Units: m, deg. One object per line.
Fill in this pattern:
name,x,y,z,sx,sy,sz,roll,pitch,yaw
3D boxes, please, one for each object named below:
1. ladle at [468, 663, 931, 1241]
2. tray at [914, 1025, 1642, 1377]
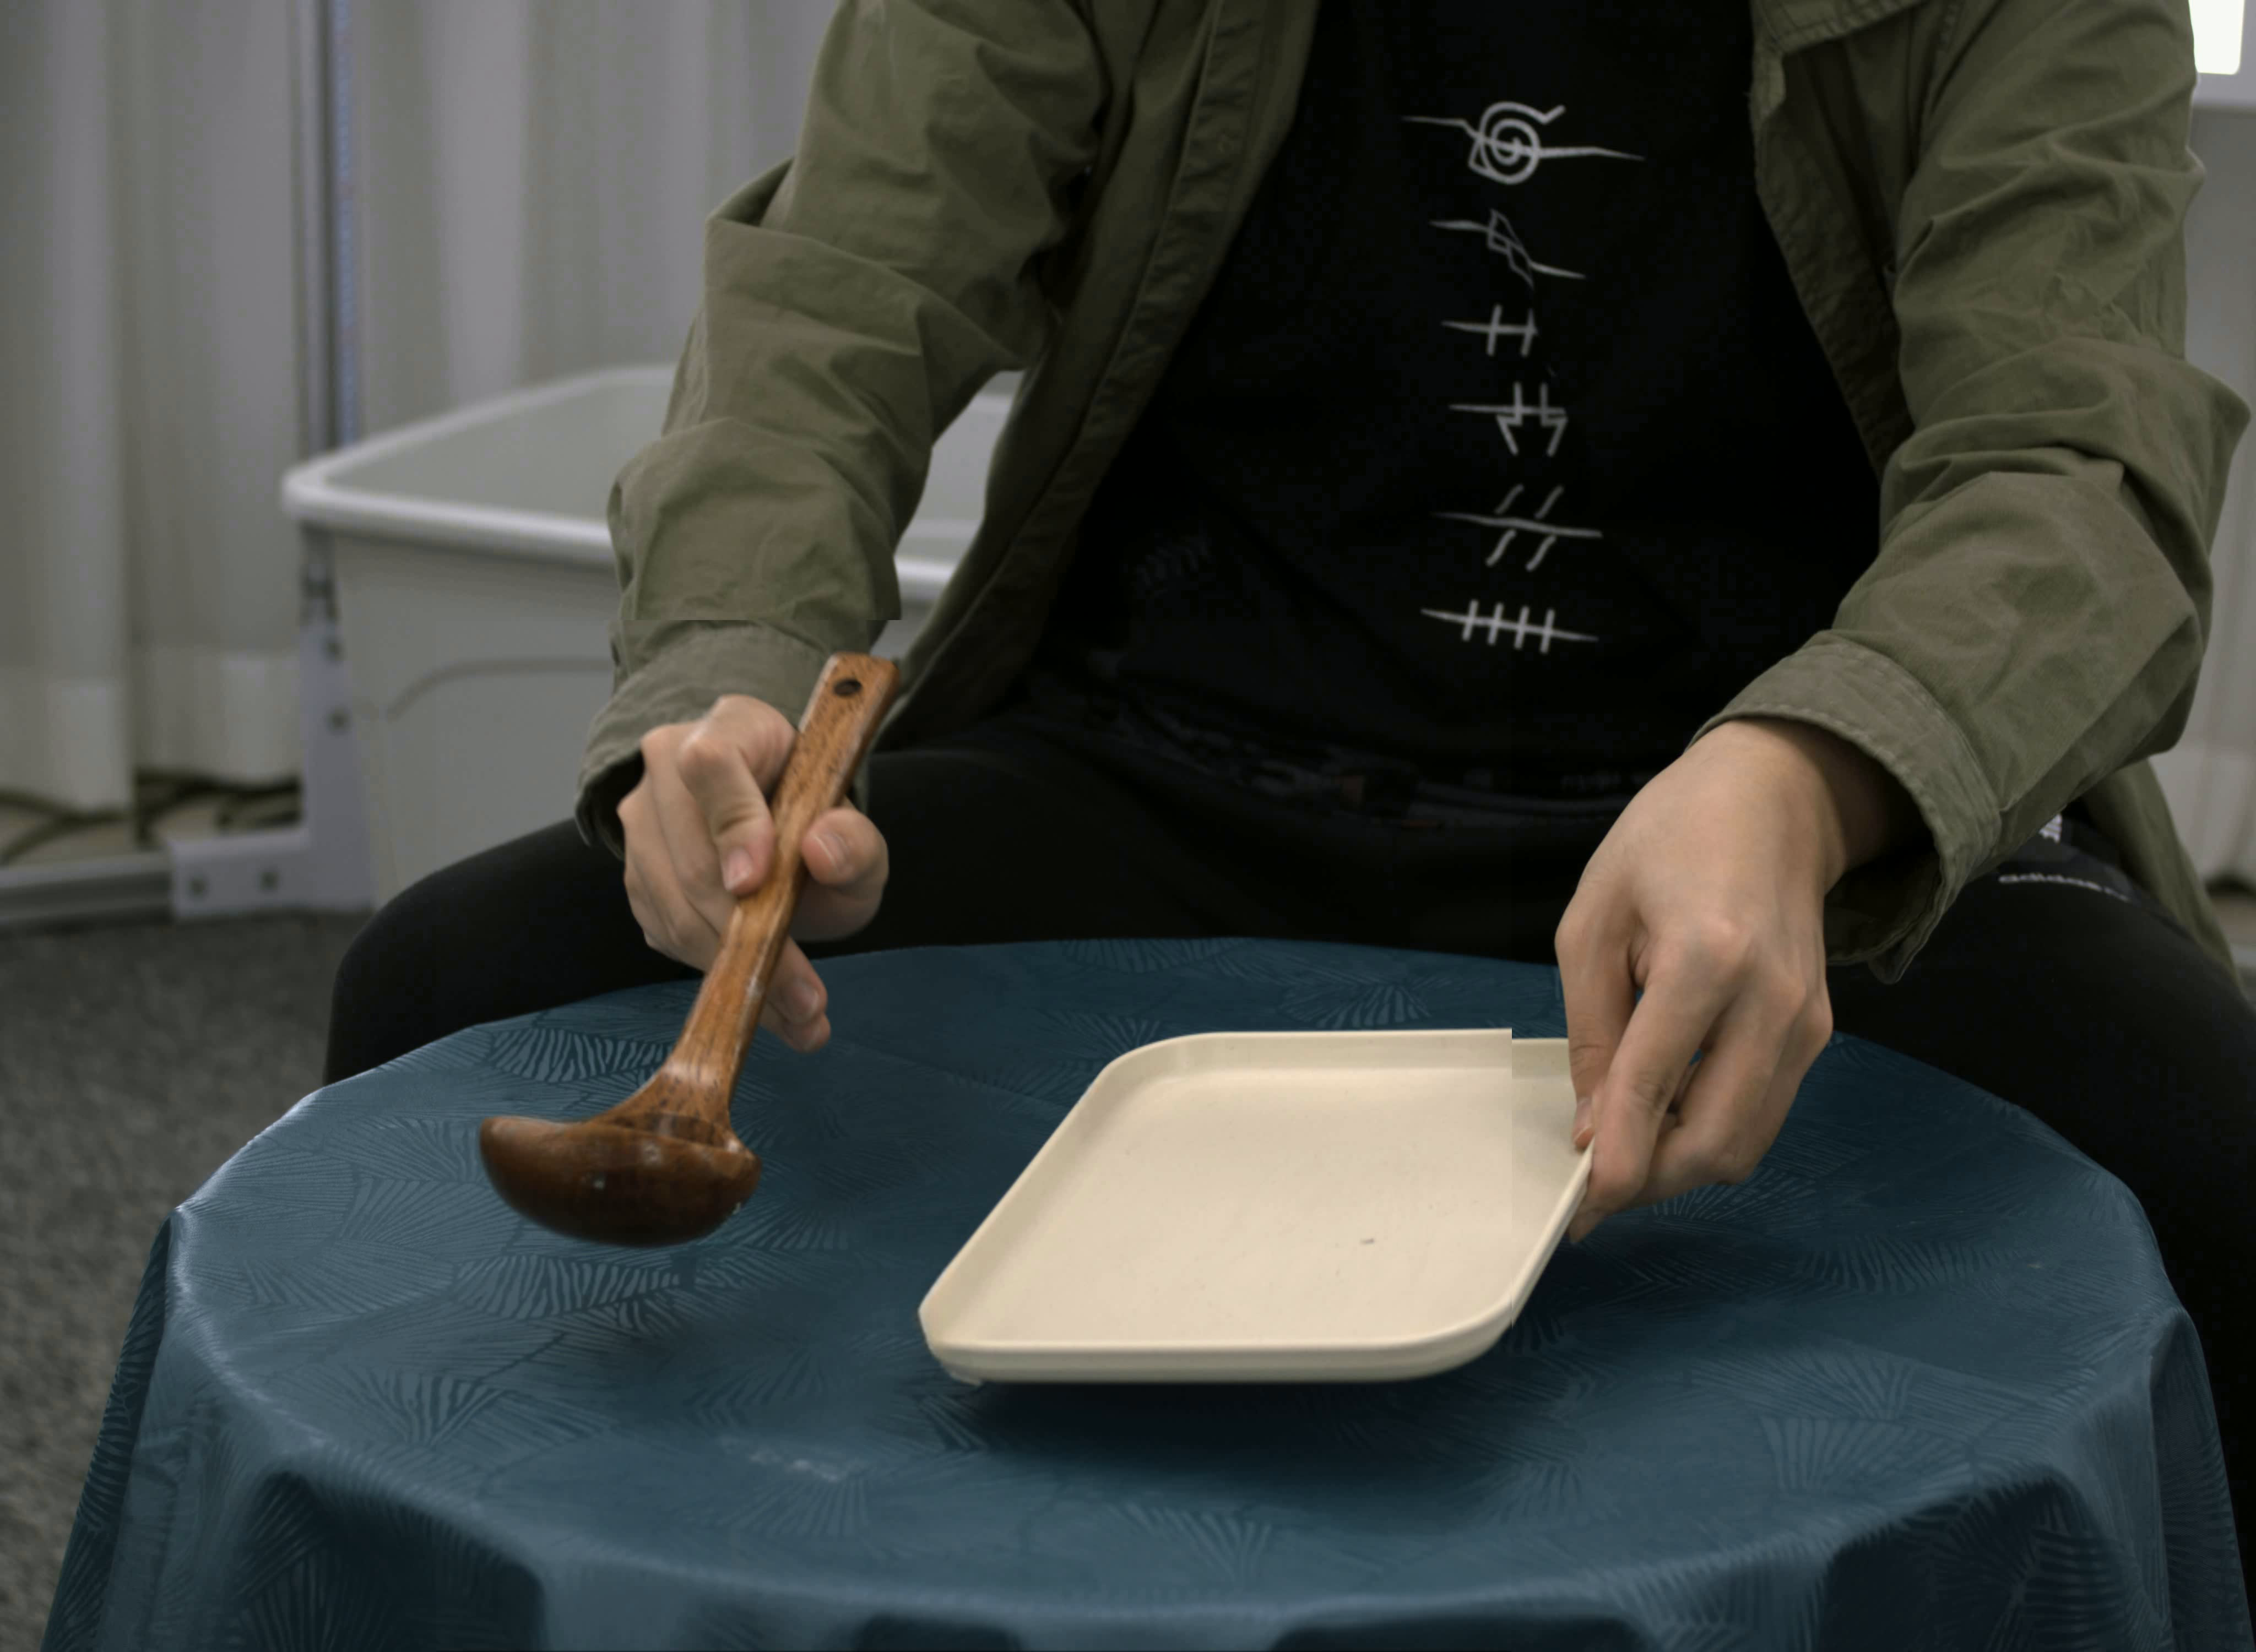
ladle,-0.116,0.021,1.555,0.081,0.077,0.273,12,47,12
tray,0.048,0.106,1.510,0.170,0.017,0.239,-1,18,18
